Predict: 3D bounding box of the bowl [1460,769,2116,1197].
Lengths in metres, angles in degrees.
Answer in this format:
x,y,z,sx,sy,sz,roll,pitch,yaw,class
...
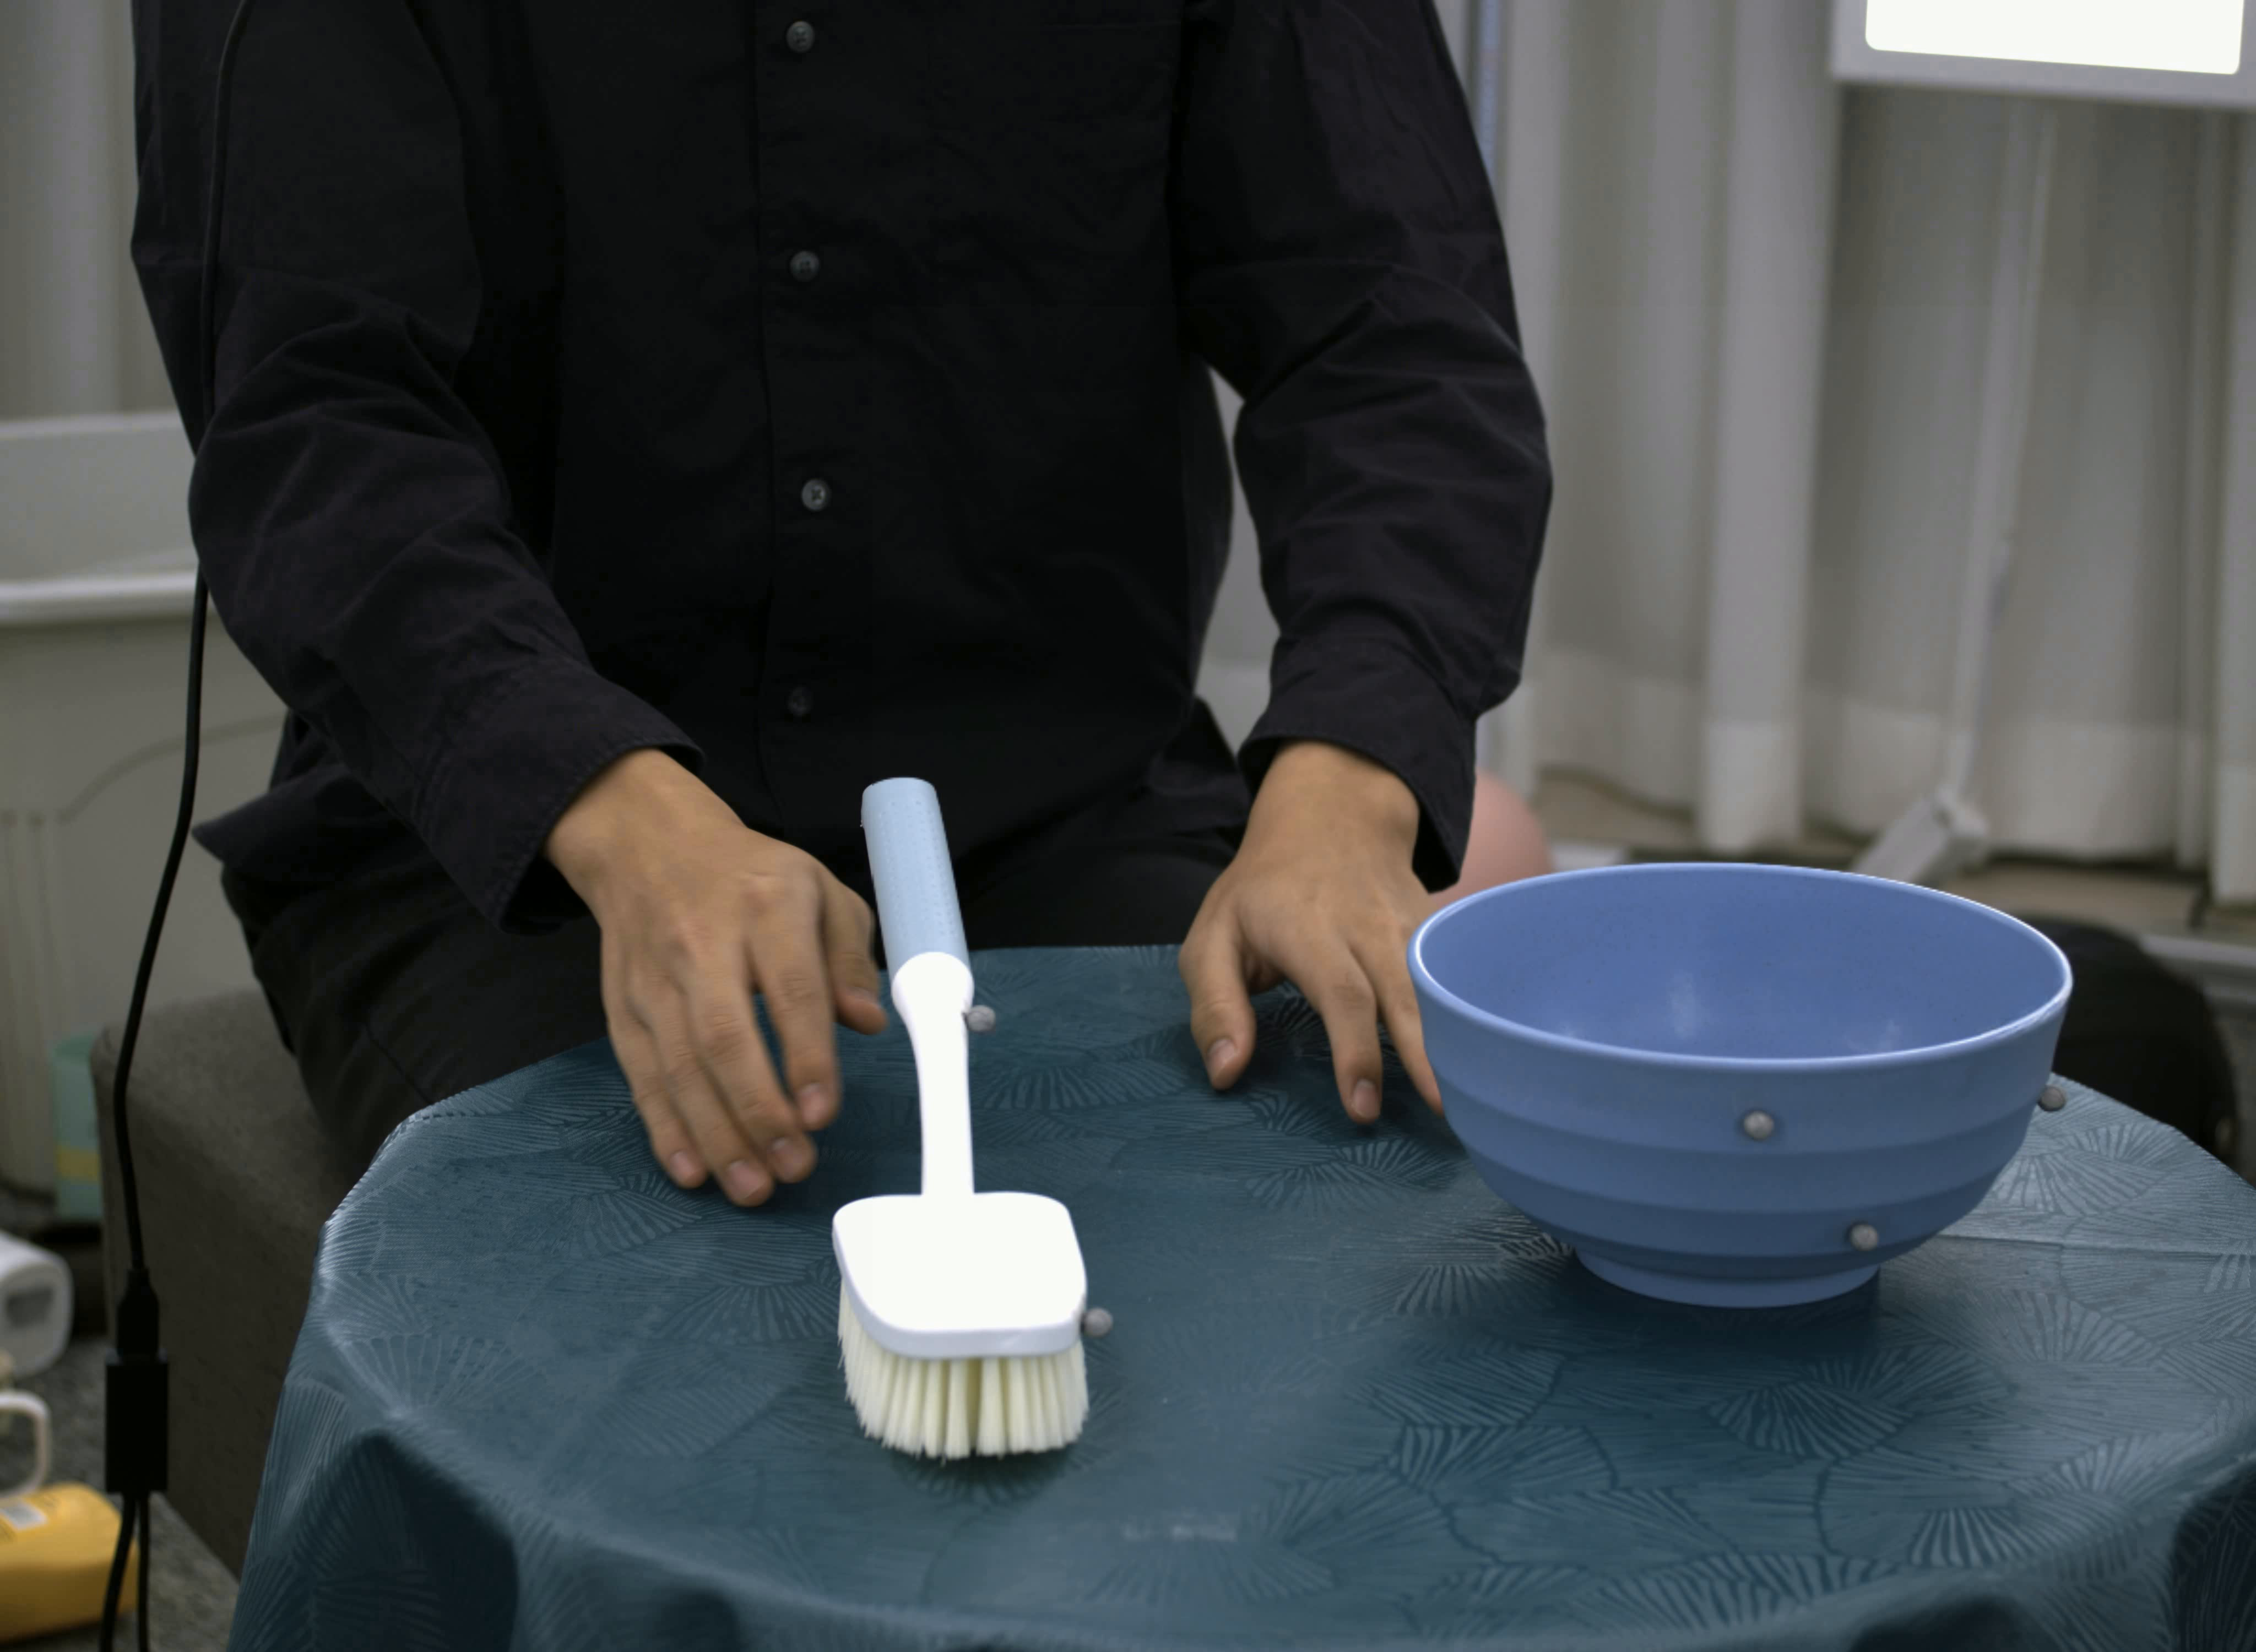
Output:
x,y,z,sx,sy,sz,roll,pitch,yaw,class
0.197,0.053,1.595,0.196,0.096,0.195,0,16,0,bowl

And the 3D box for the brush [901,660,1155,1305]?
x,y,z,sx,sy,sz,roll,pitch,yaw,class
-0.033,0.058,1.577,0.084,0.084,0.322,34,19,-22,brush
